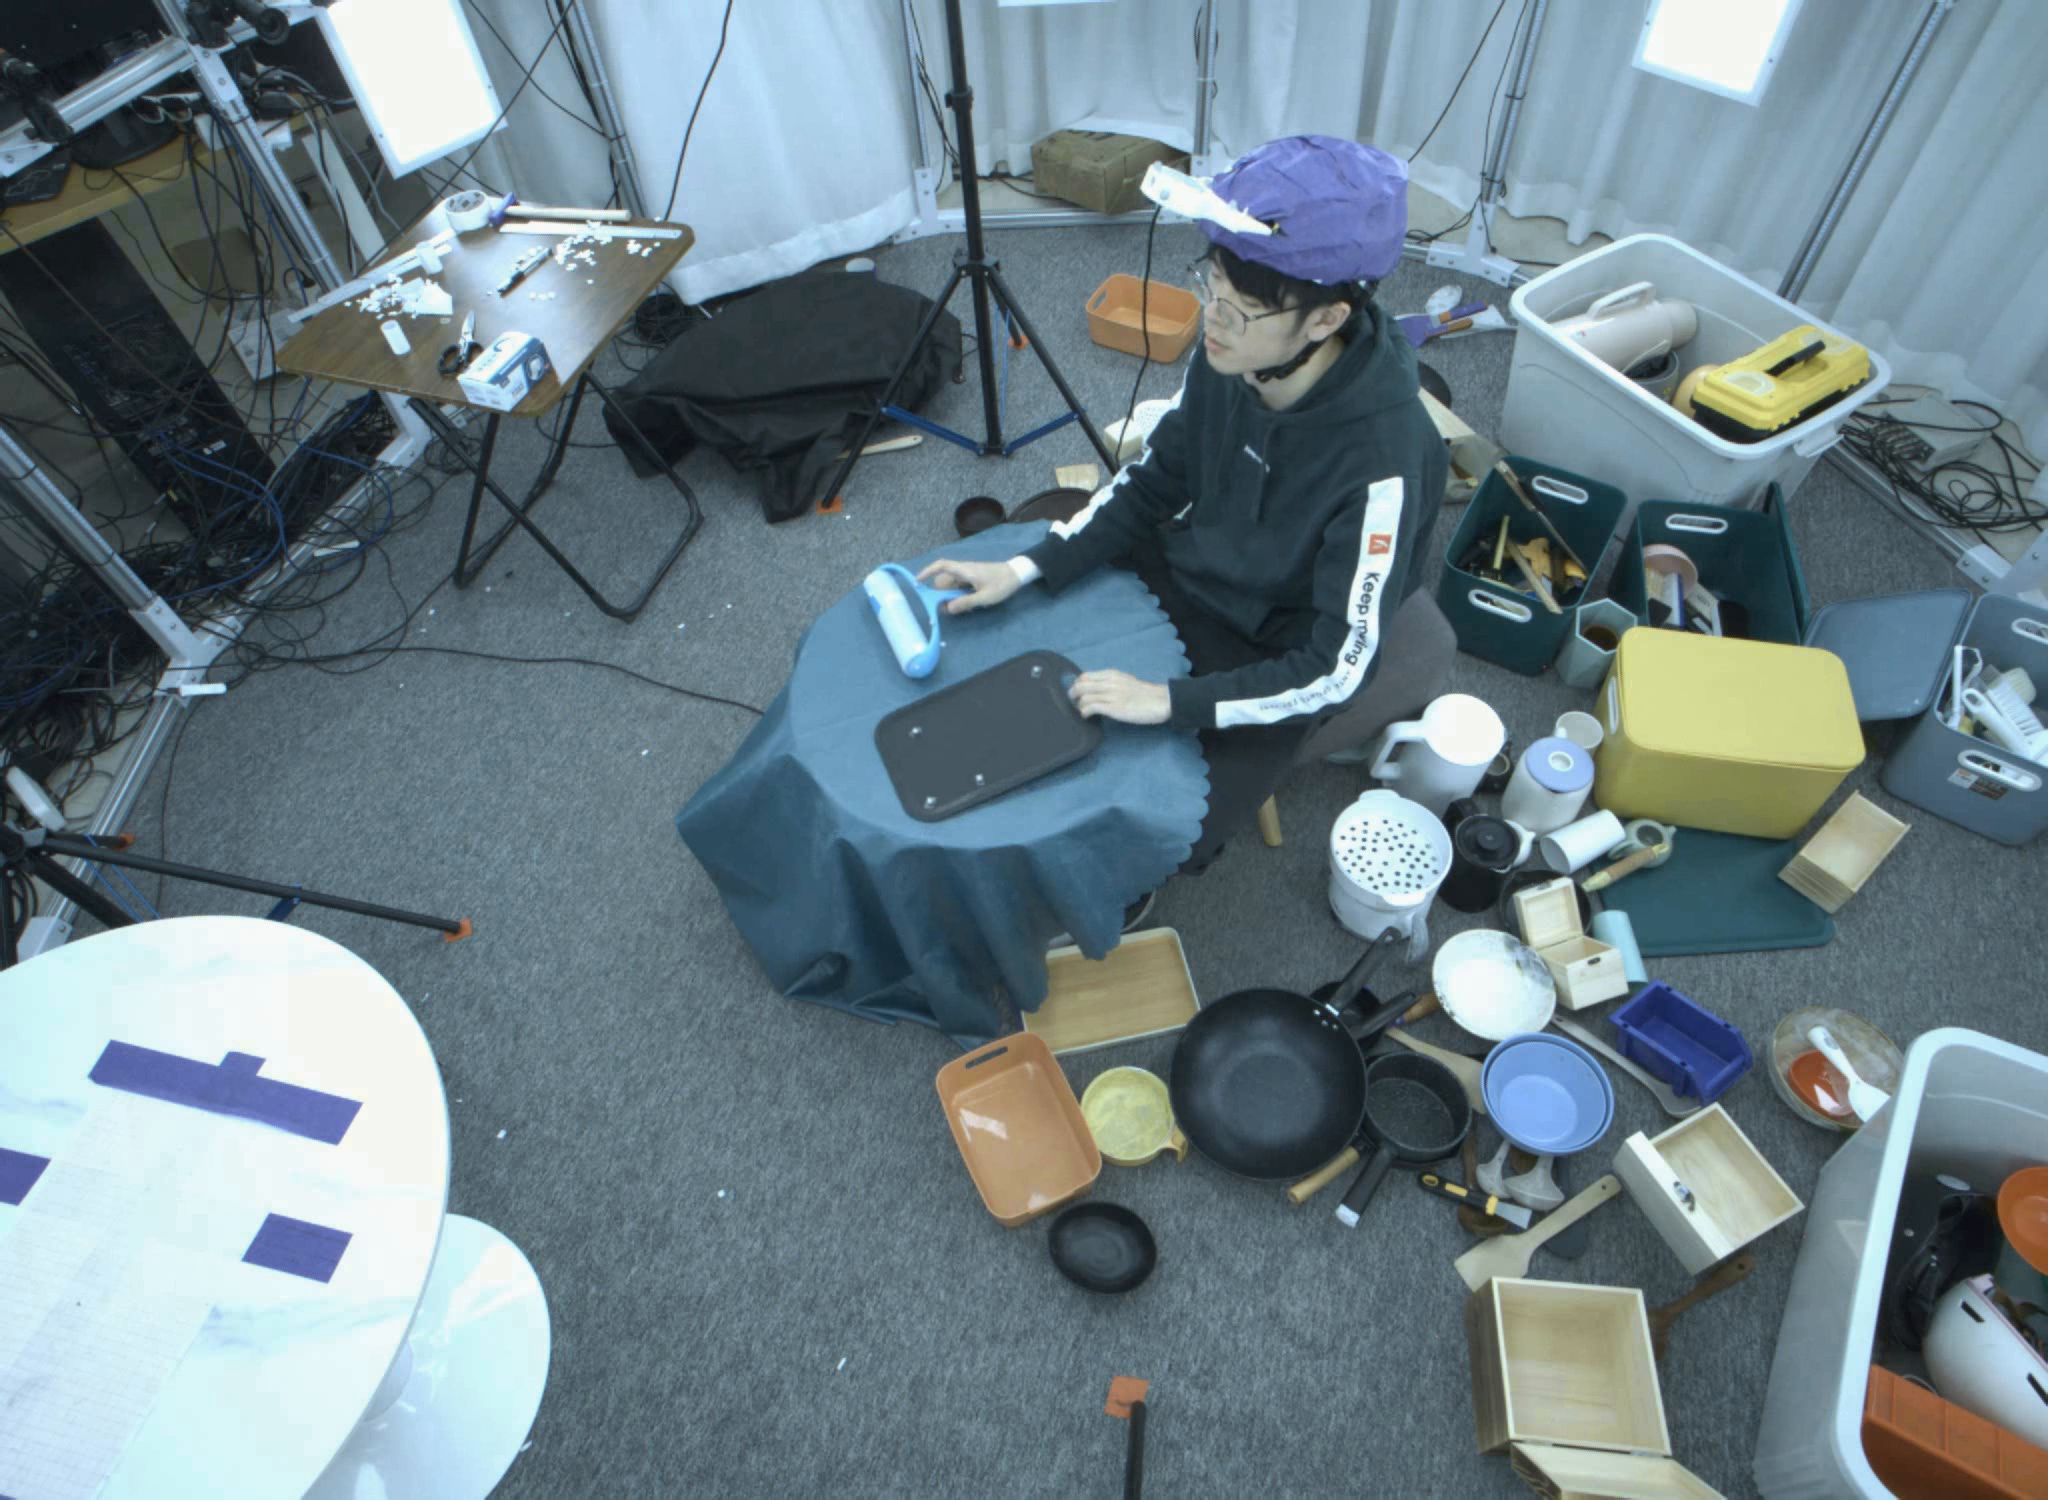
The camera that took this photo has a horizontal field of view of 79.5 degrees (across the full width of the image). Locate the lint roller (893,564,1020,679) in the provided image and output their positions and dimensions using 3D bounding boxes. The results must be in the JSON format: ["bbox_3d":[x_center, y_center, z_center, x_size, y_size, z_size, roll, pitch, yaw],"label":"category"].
[{"bbox_3d":[-0.094,-0.219,1.906,0.181,0.069,0.224,-22,55,-11],"label":"lint roller"}]

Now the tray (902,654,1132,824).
[{"bbox_3d":[-0.007,-0.025,1.776,0.326,0.010,0.207,-22,58,-6],"label":"tray"}]
